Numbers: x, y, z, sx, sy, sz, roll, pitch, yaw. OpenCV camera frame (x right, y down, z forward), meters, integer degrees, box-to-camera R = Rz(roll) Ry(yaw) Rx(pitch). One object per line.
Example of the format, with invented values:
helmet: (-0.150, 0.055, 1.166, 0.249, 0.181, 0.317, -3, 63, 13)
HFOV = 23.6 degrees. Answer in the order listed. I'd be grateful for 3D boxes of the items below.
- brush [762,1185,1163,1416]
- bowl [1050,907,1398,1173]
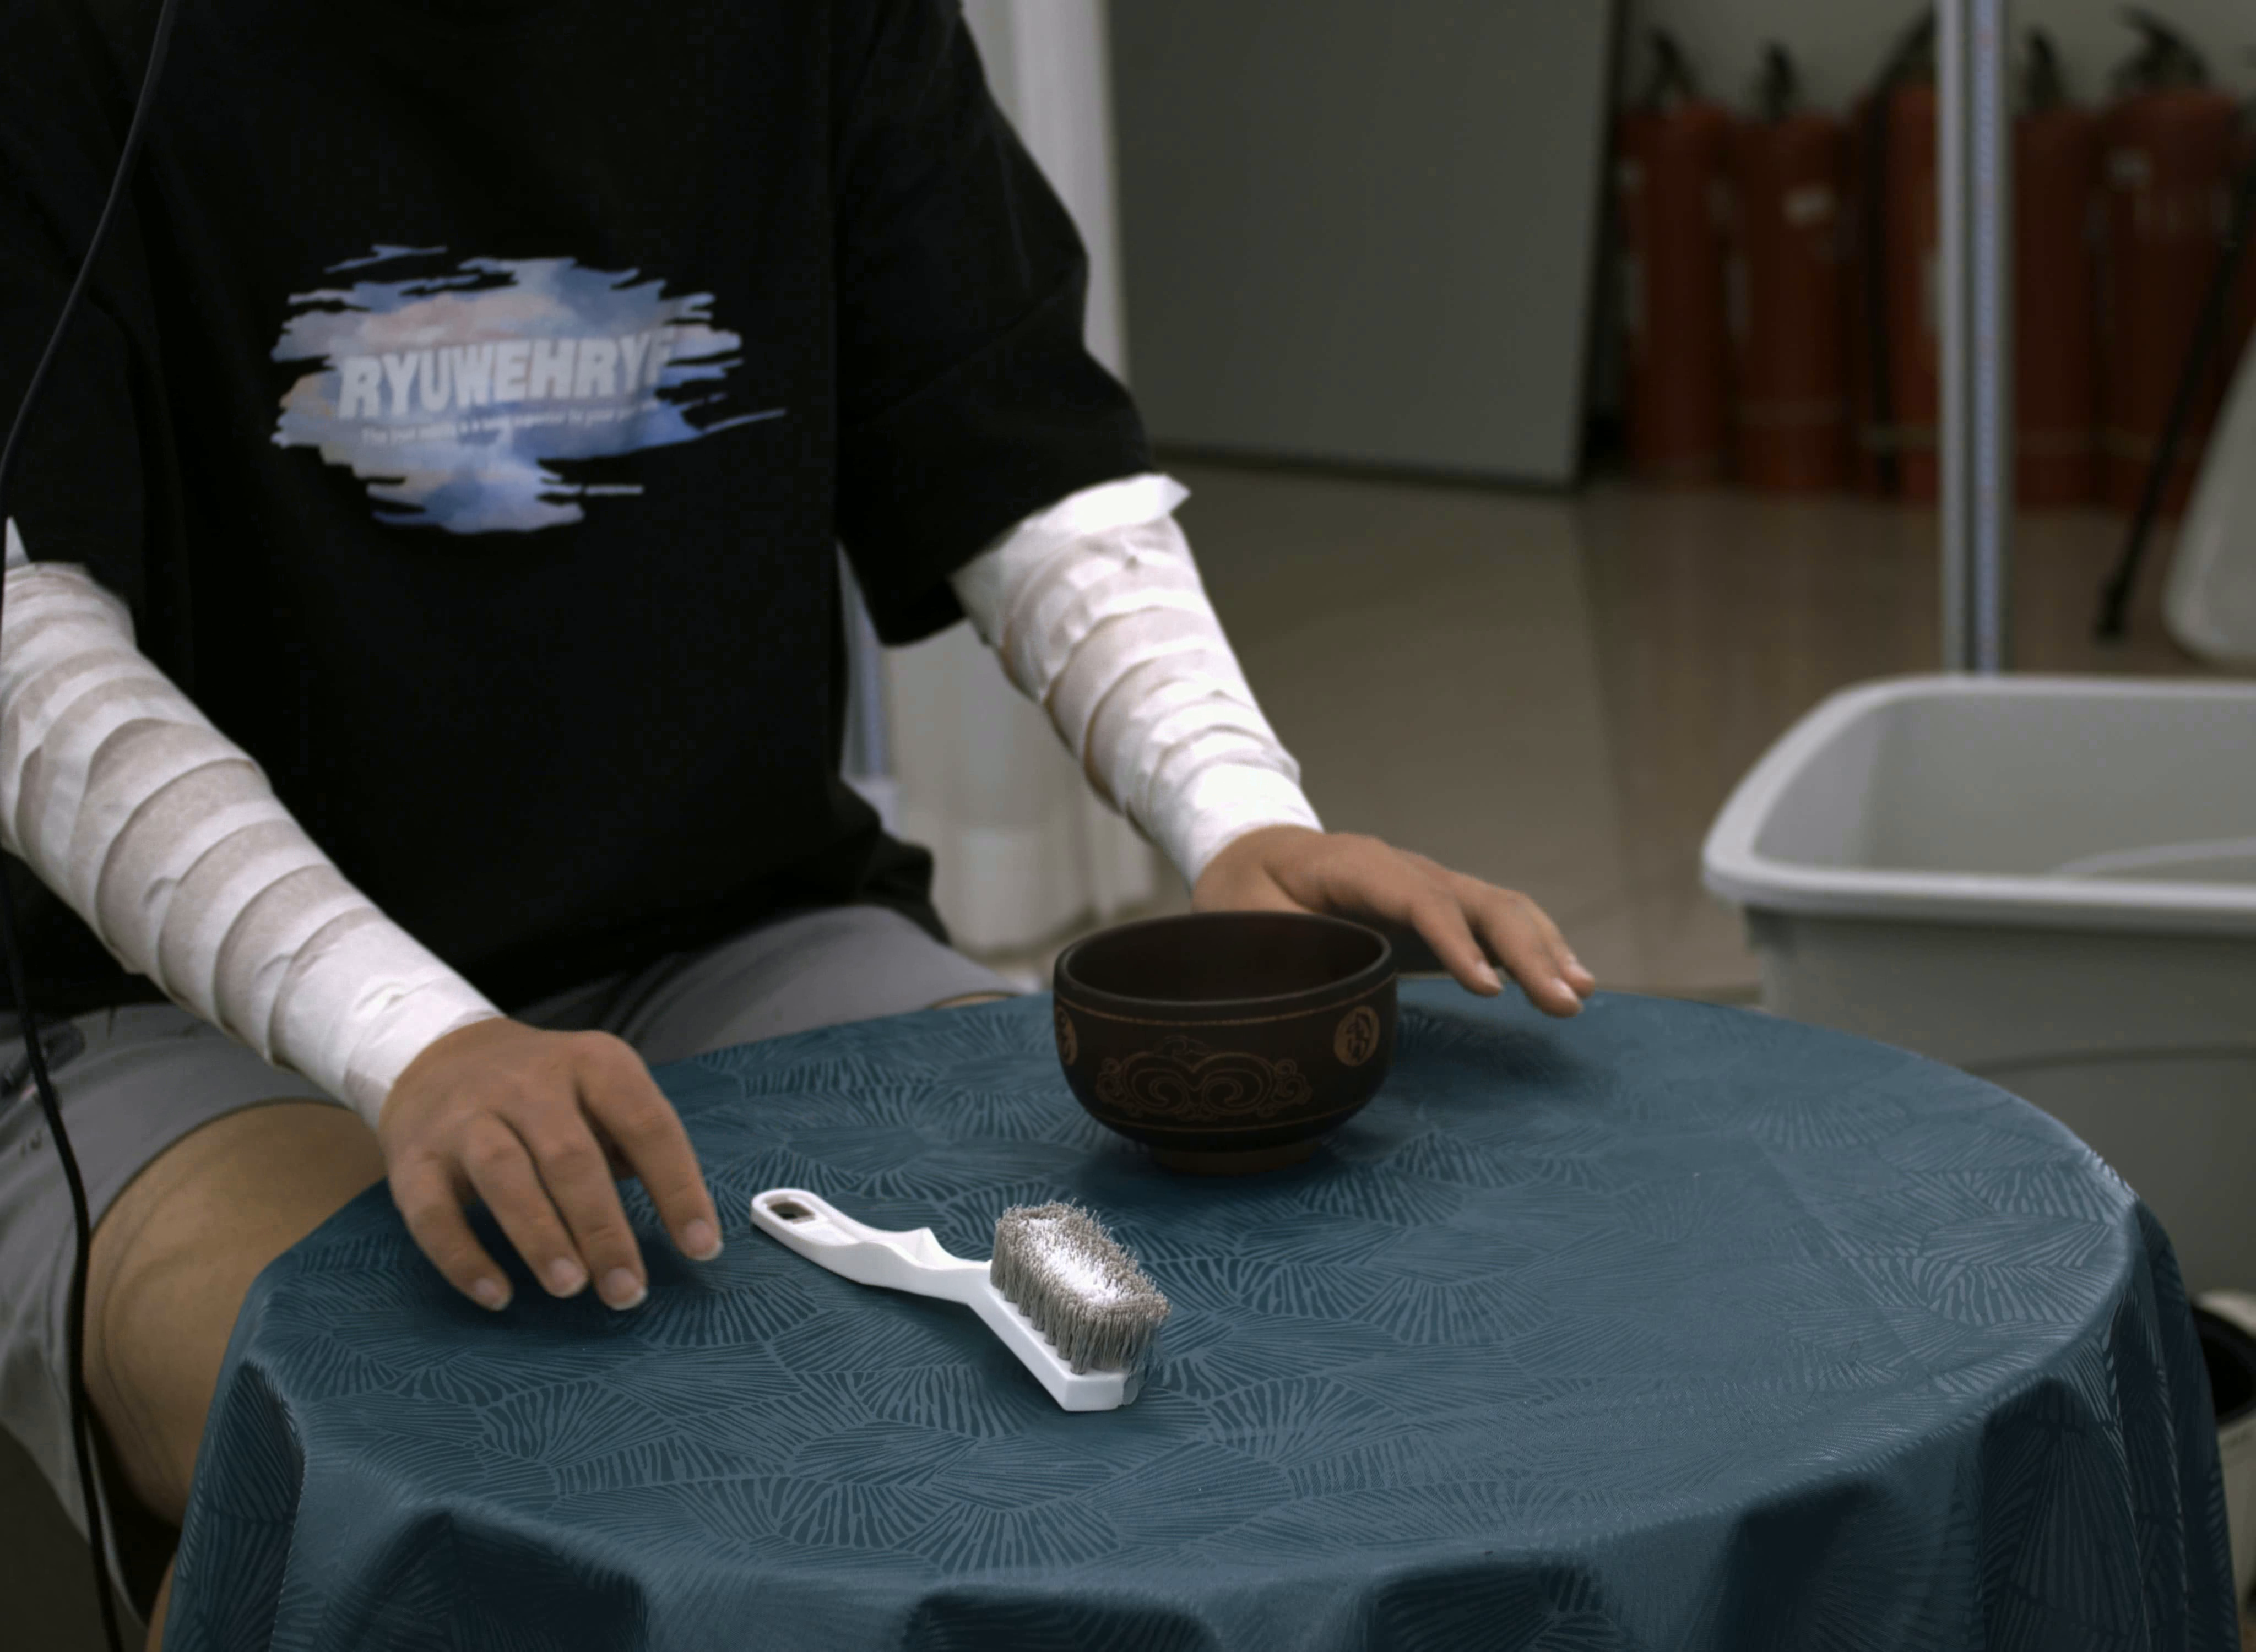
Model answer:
brush: (-0.057, 0.126, 1.663, 0.033, 0.051, 0.246, -9, 15, -26)
bowl: (0.033, 0.075, 1.799, 0.116, 0.070, 0.118, -5, 12, 0)
